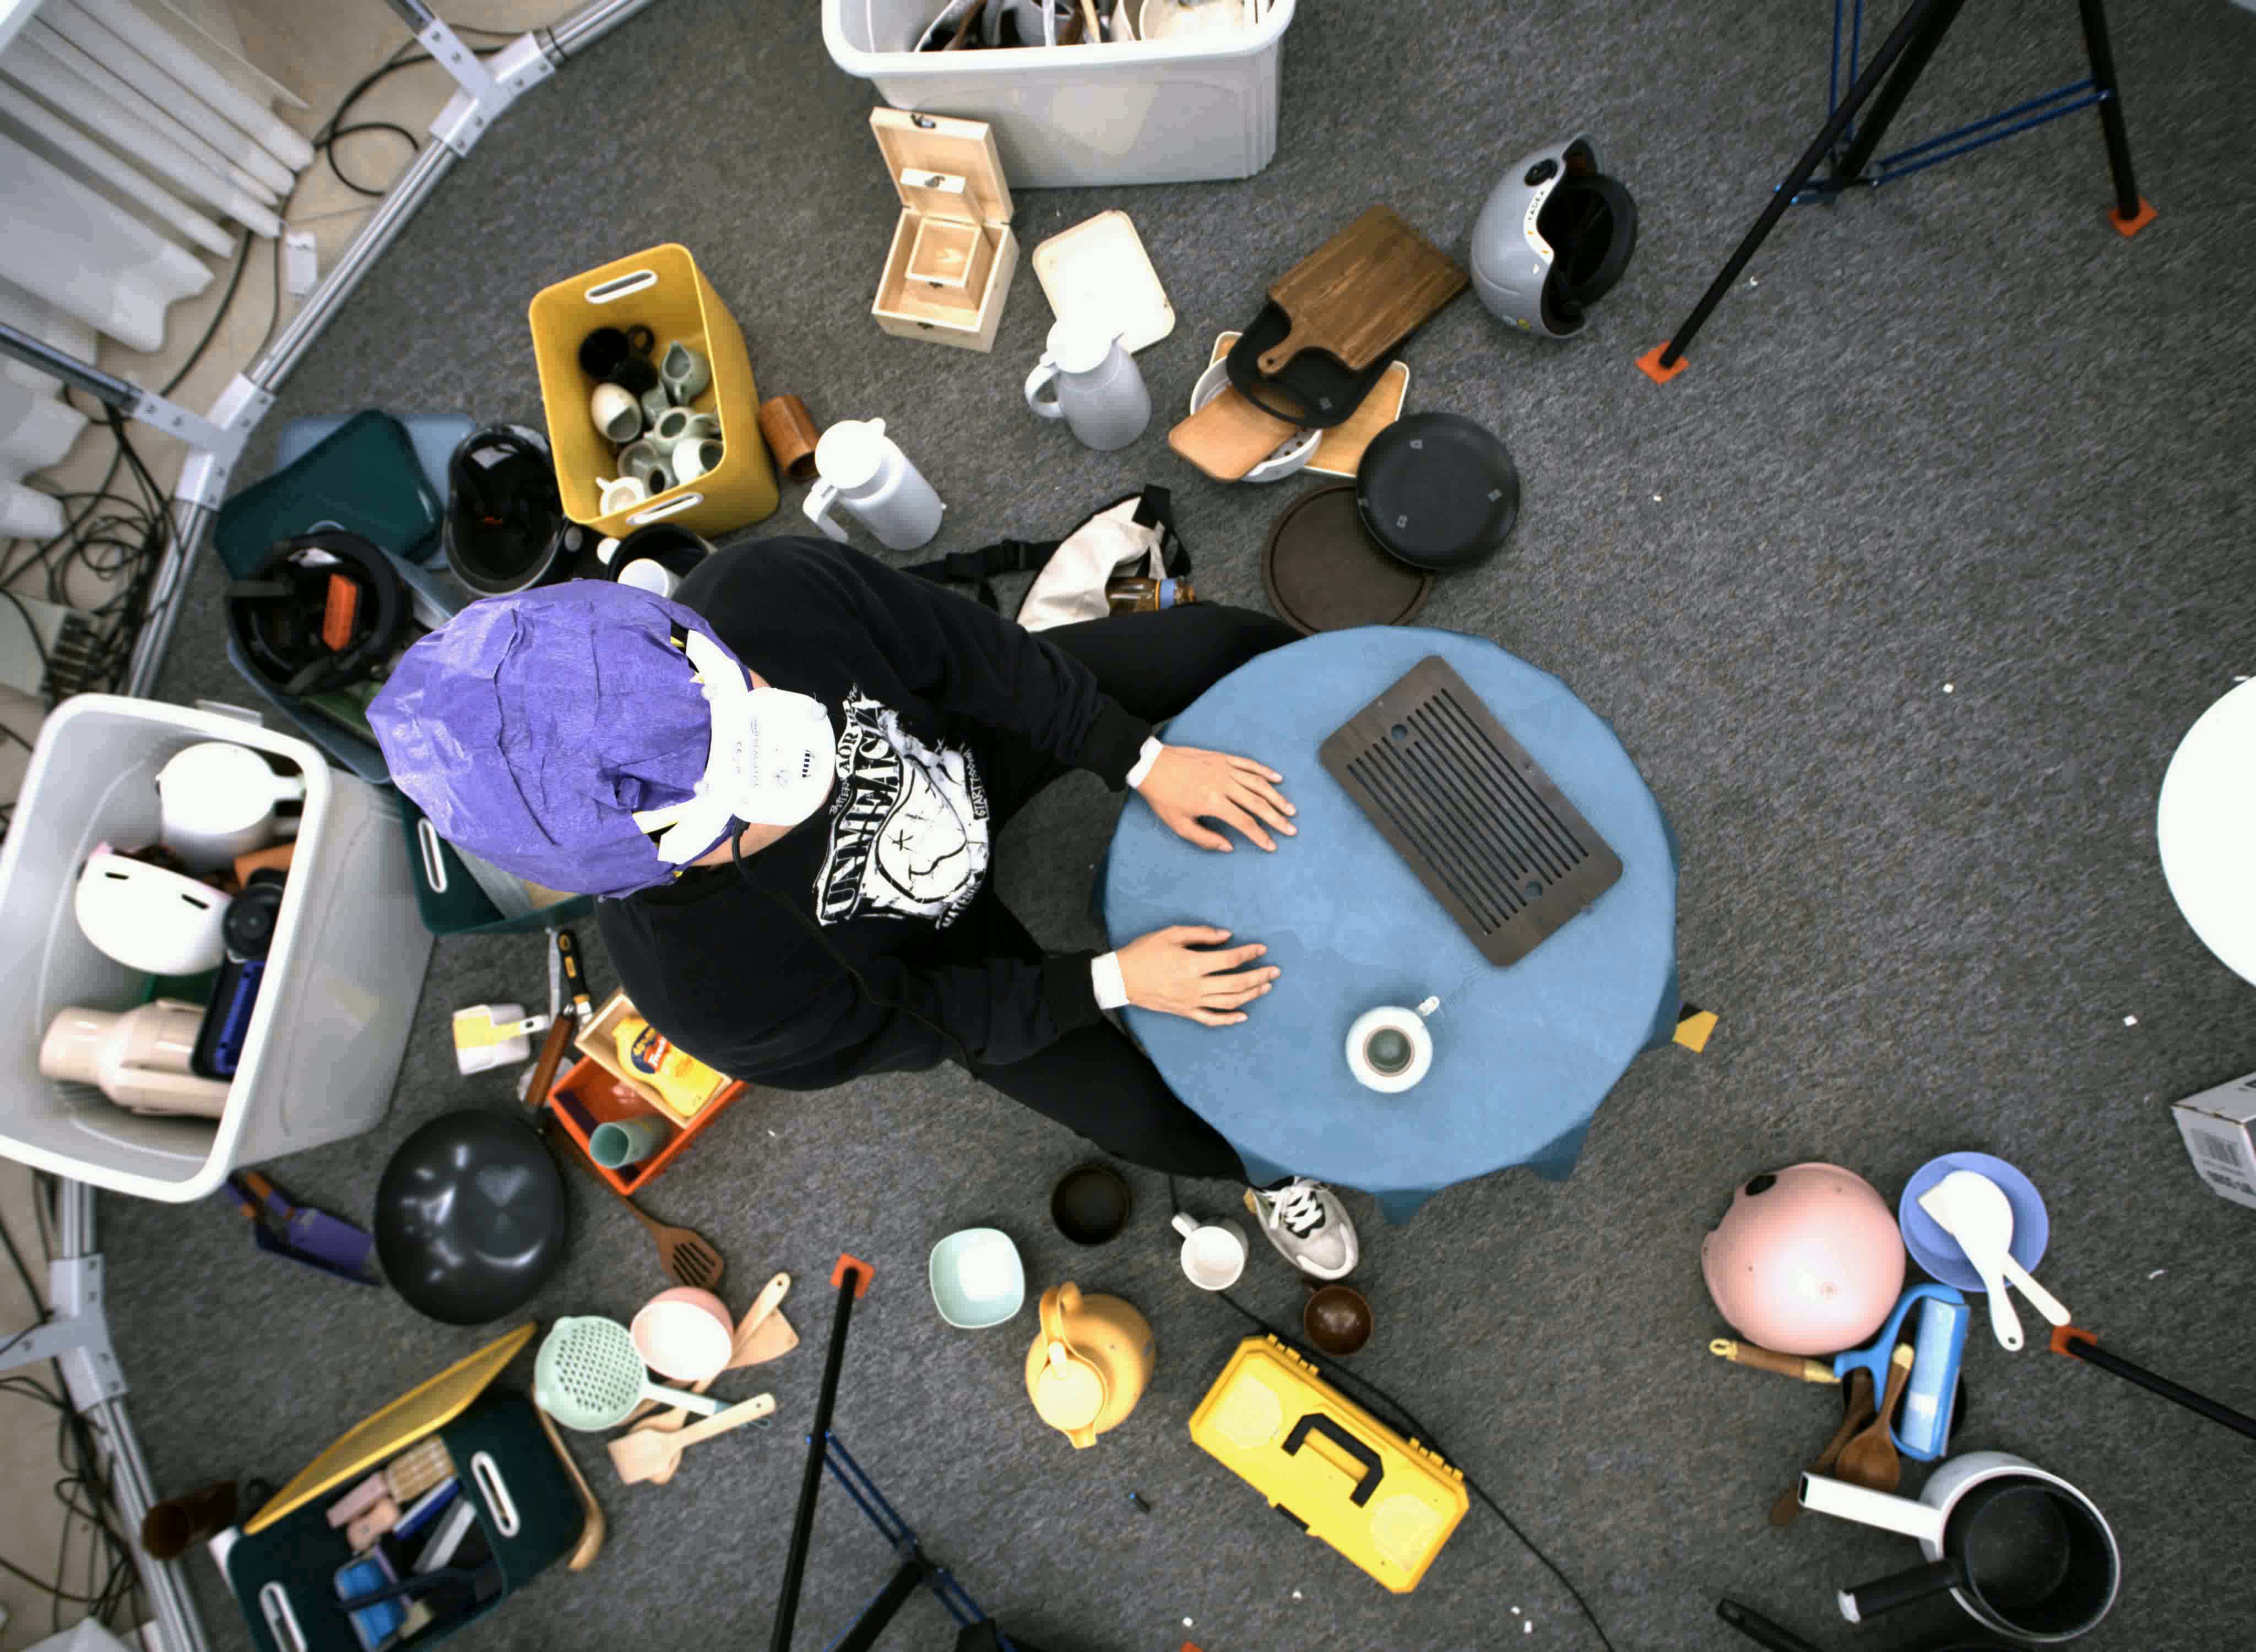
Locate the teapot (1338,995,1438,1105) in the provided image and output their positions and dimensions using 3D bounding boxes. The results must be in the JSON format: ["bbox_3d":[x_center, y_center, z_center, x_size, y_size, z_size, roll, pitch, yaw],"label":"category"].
[{"bbox_3d":[0.266,0.226,1.418,0.088,0.075,0.144,44,93,10],"label":"teapot"}]

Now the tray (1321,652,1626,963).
[{"bbox_3d":[0.358,-0.023,1.440,0.171,0.018,0.304,-40,81,7],"label":"tray"}]
